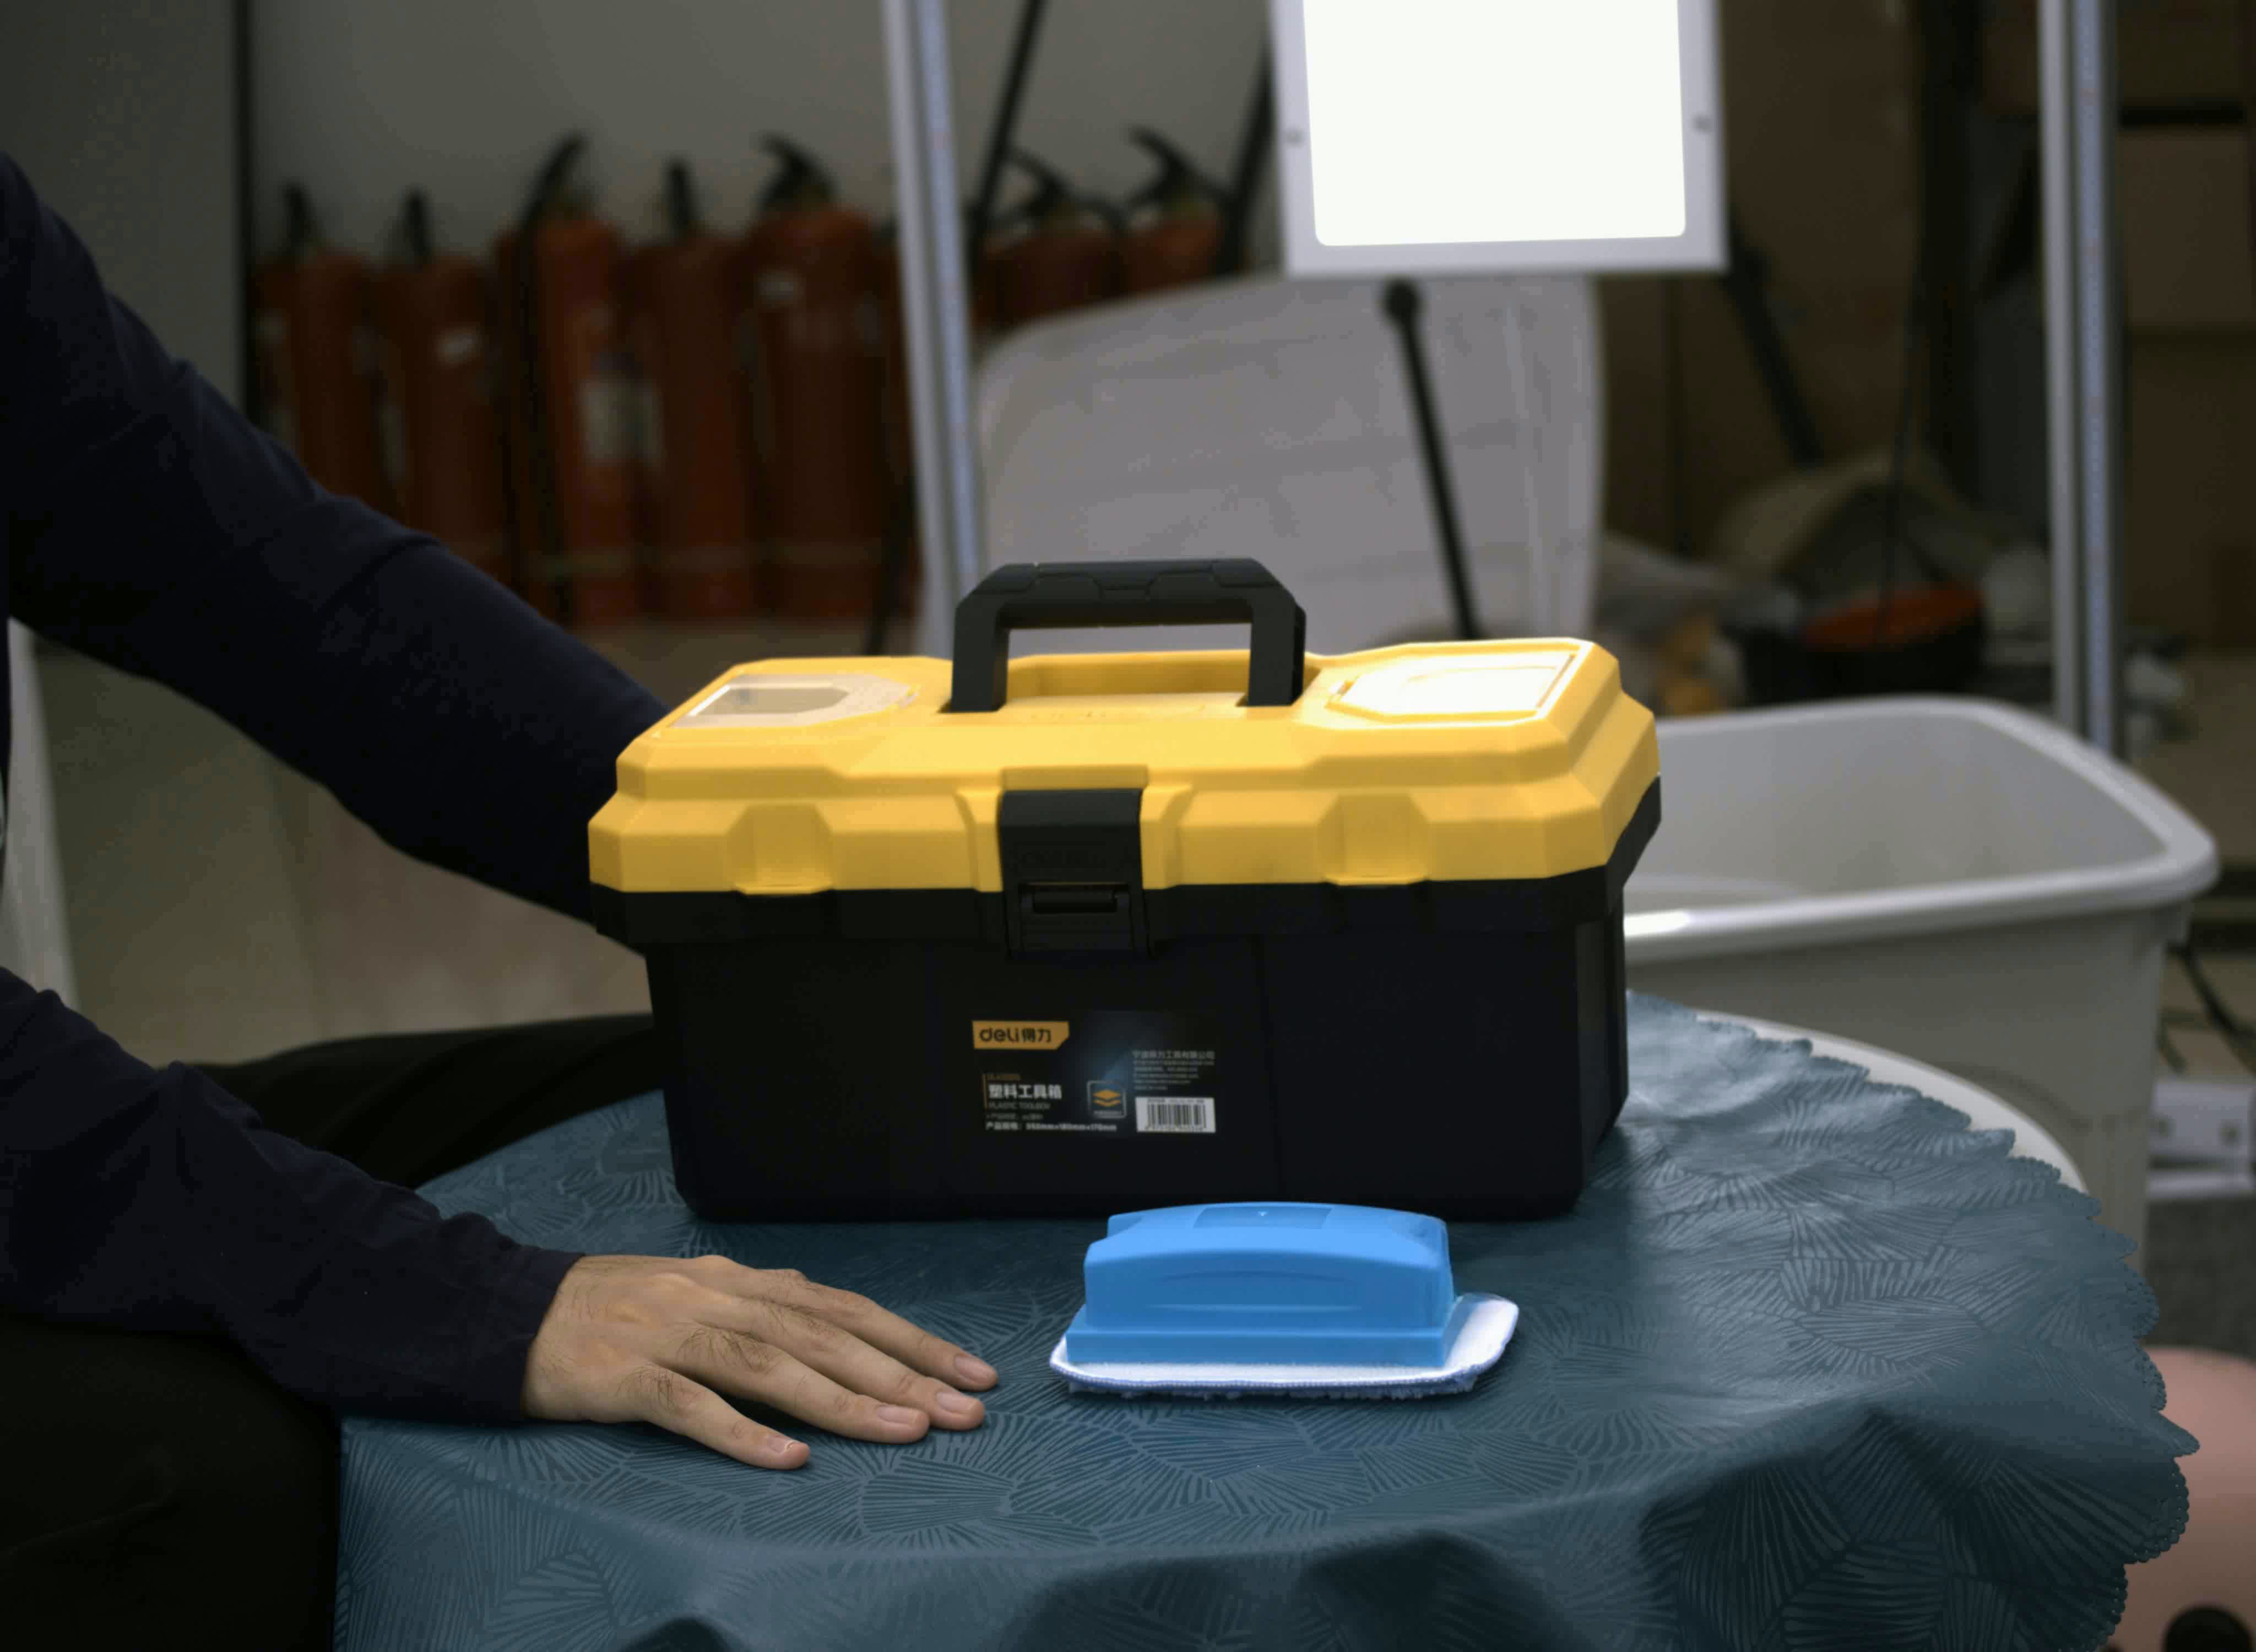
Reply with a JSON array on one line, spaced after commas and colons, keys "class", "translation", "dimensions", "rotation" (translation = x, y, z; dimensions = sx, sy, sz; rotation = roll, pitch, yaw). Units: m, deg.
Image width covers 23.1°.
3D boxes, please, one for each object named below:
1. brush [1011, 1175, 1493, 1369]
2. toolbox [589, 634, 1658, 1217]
[{"class": "brush", "translation": [0.039, 0.138, 1.704], "dimensions": [0.145, 0.056, 0.082], "rotation": [2, 11, 17]}, {"class": "toolbox", "translation": [0.003, 0.036, 1.901], "dimensions": [0.355, 0.173, 0.179], "rotation": [-1, 14, 16]}]
